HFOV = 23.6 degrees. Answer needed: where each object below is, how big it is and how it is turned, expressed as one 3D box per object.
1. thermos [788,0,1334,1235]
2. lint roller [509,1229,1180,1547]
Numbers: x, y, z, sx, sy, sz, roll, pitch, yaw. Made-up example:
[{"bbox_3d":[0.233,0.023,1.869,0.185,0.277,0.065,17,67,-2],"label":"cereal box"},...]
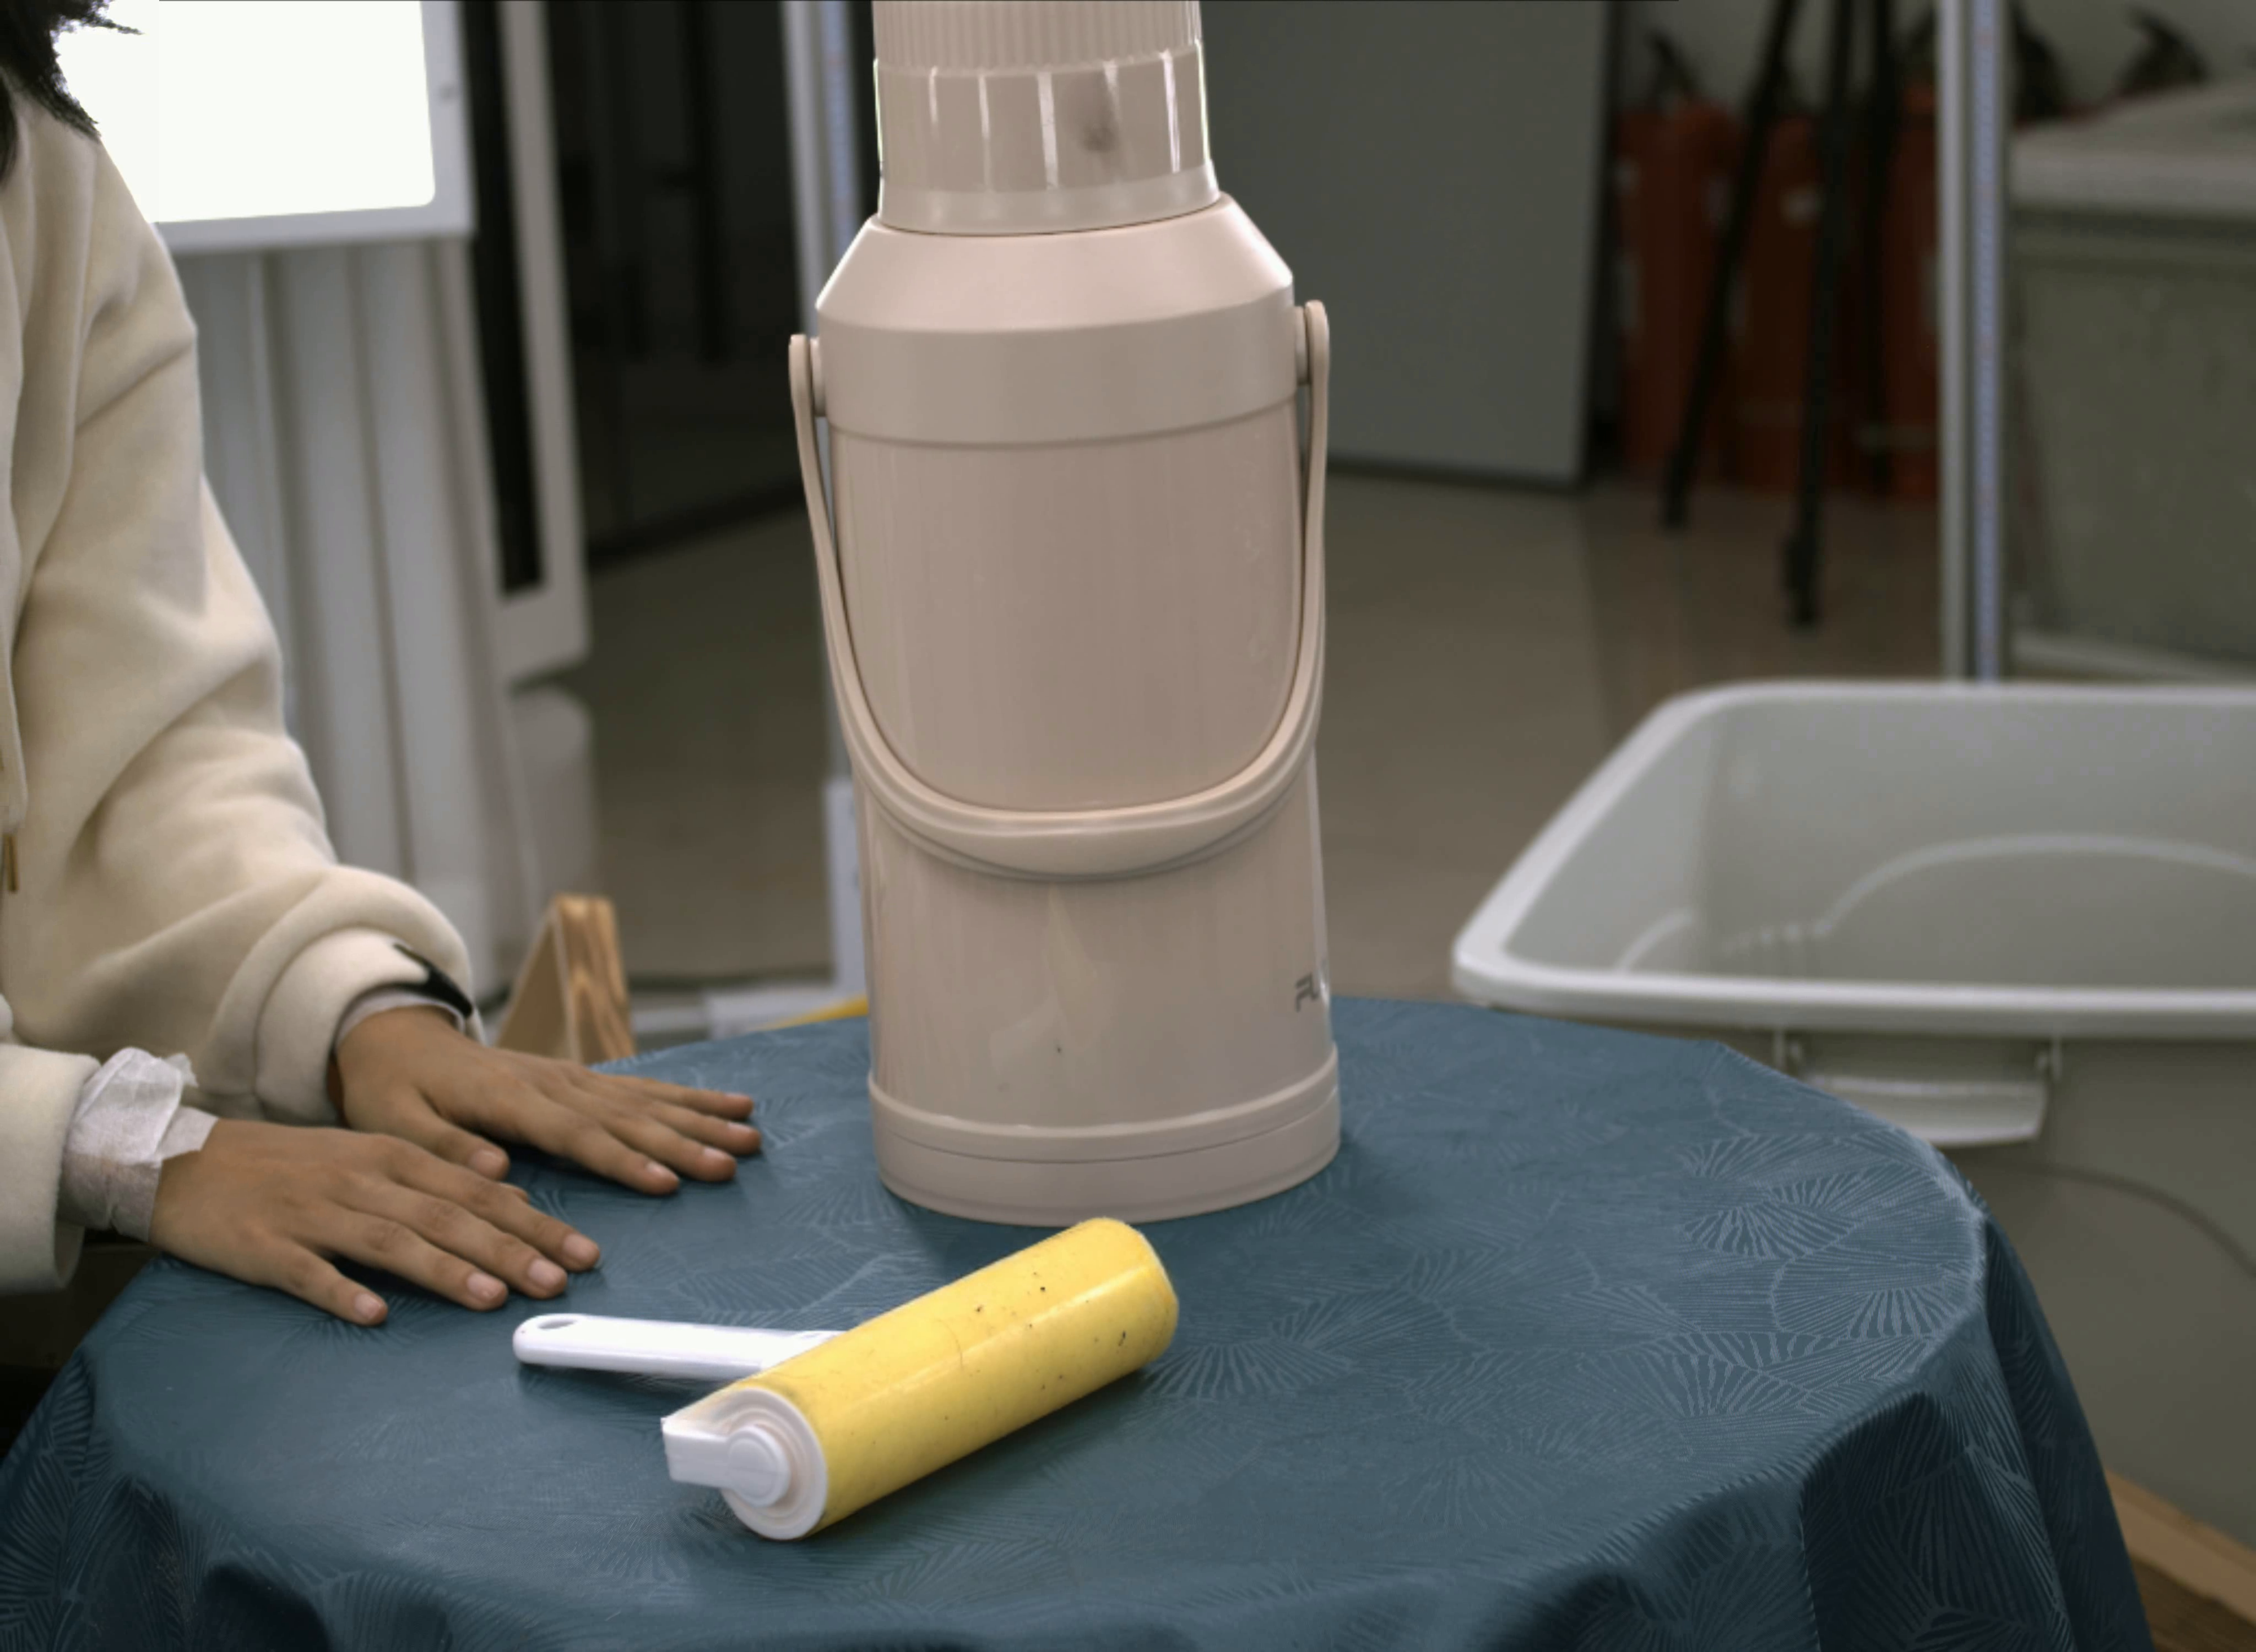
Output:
[{"bbox_3d":[-0.018,-0.085,1.778,0.173,0.411,0.207,-4,13,-1],"label":"thermos"},{"bbox_3d":[-0.107,0.147,1.583,0.193,0.052,0.171,13,21,35],"label":"lint roller"}]
